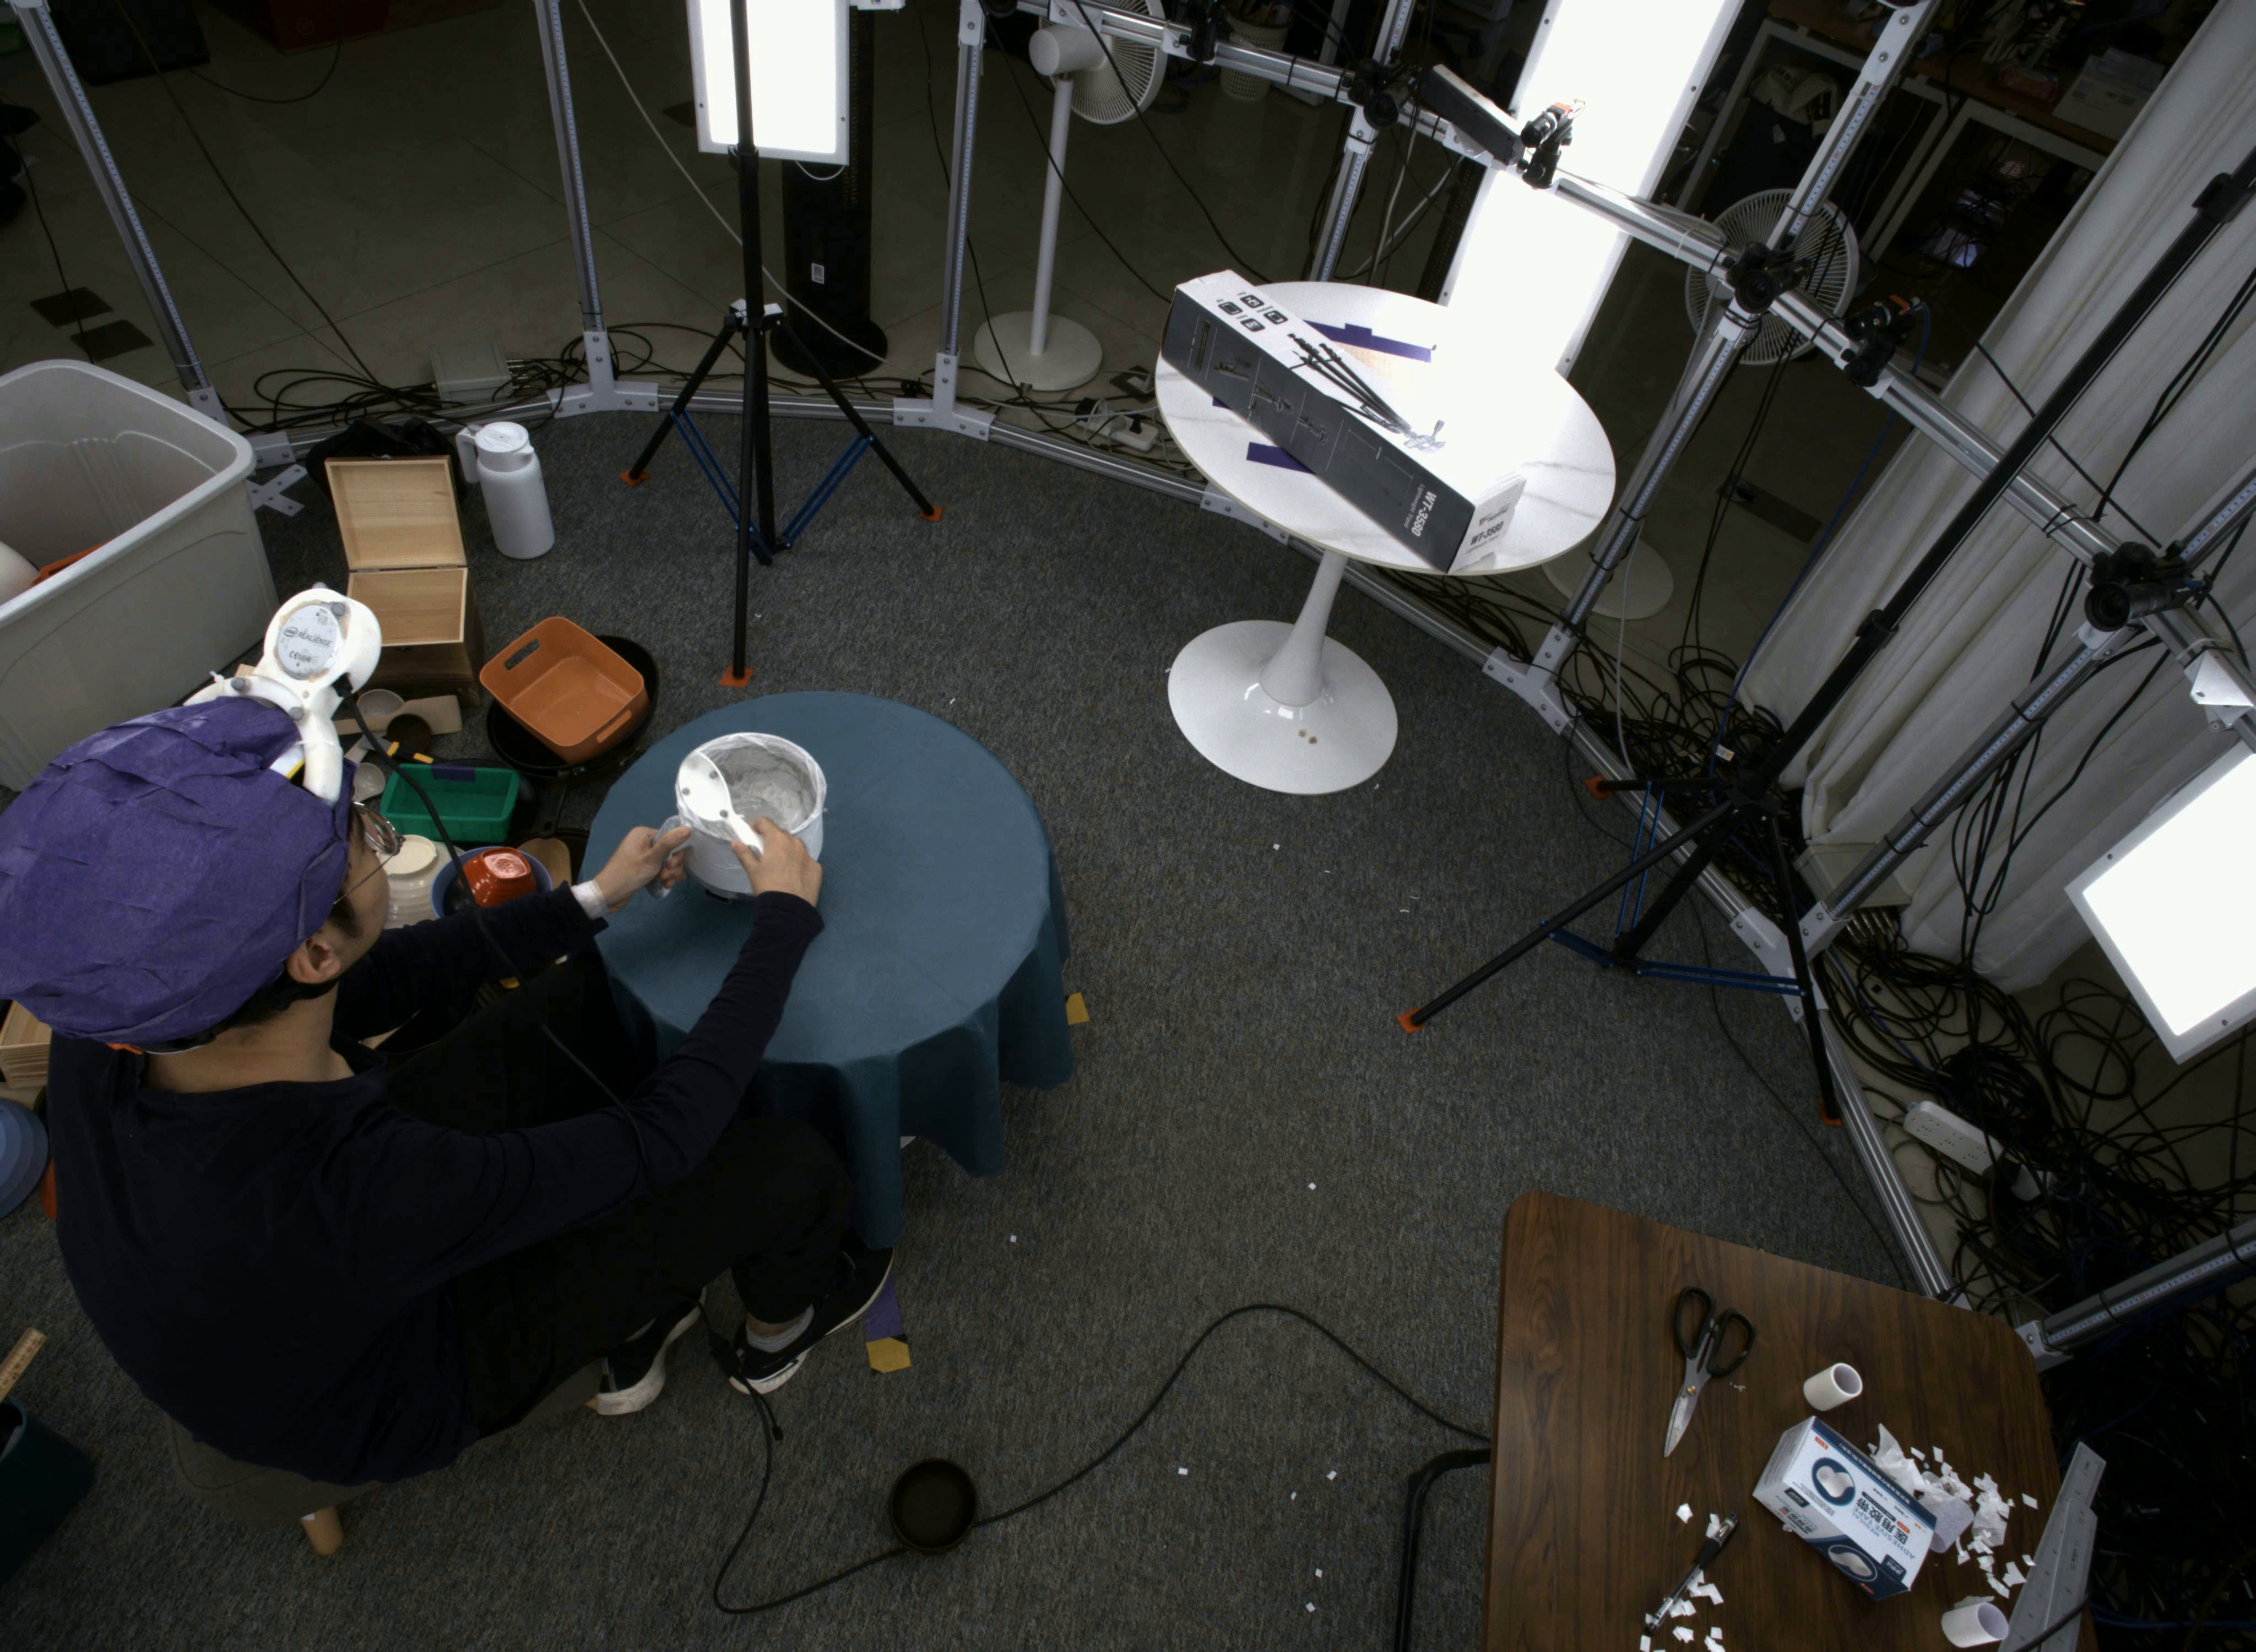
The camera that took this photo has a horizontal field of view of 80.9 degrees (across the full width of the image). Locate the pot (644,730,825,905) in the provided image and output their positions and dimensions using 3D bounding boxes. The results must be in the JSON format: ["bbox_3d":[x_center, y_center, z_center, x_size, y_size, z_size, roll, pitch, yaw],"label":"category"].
[{"bbox_3d":[-0.485,0.002,1.582,0.174,0.139,0.235,42,51,21],"label":"pot"}]

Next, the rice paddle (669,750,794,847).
[{"bbox_3d":[-0.467,-0.030,1.488,0.199,0.070,0.030,26,22,23],"label":"rice paddle"}]
